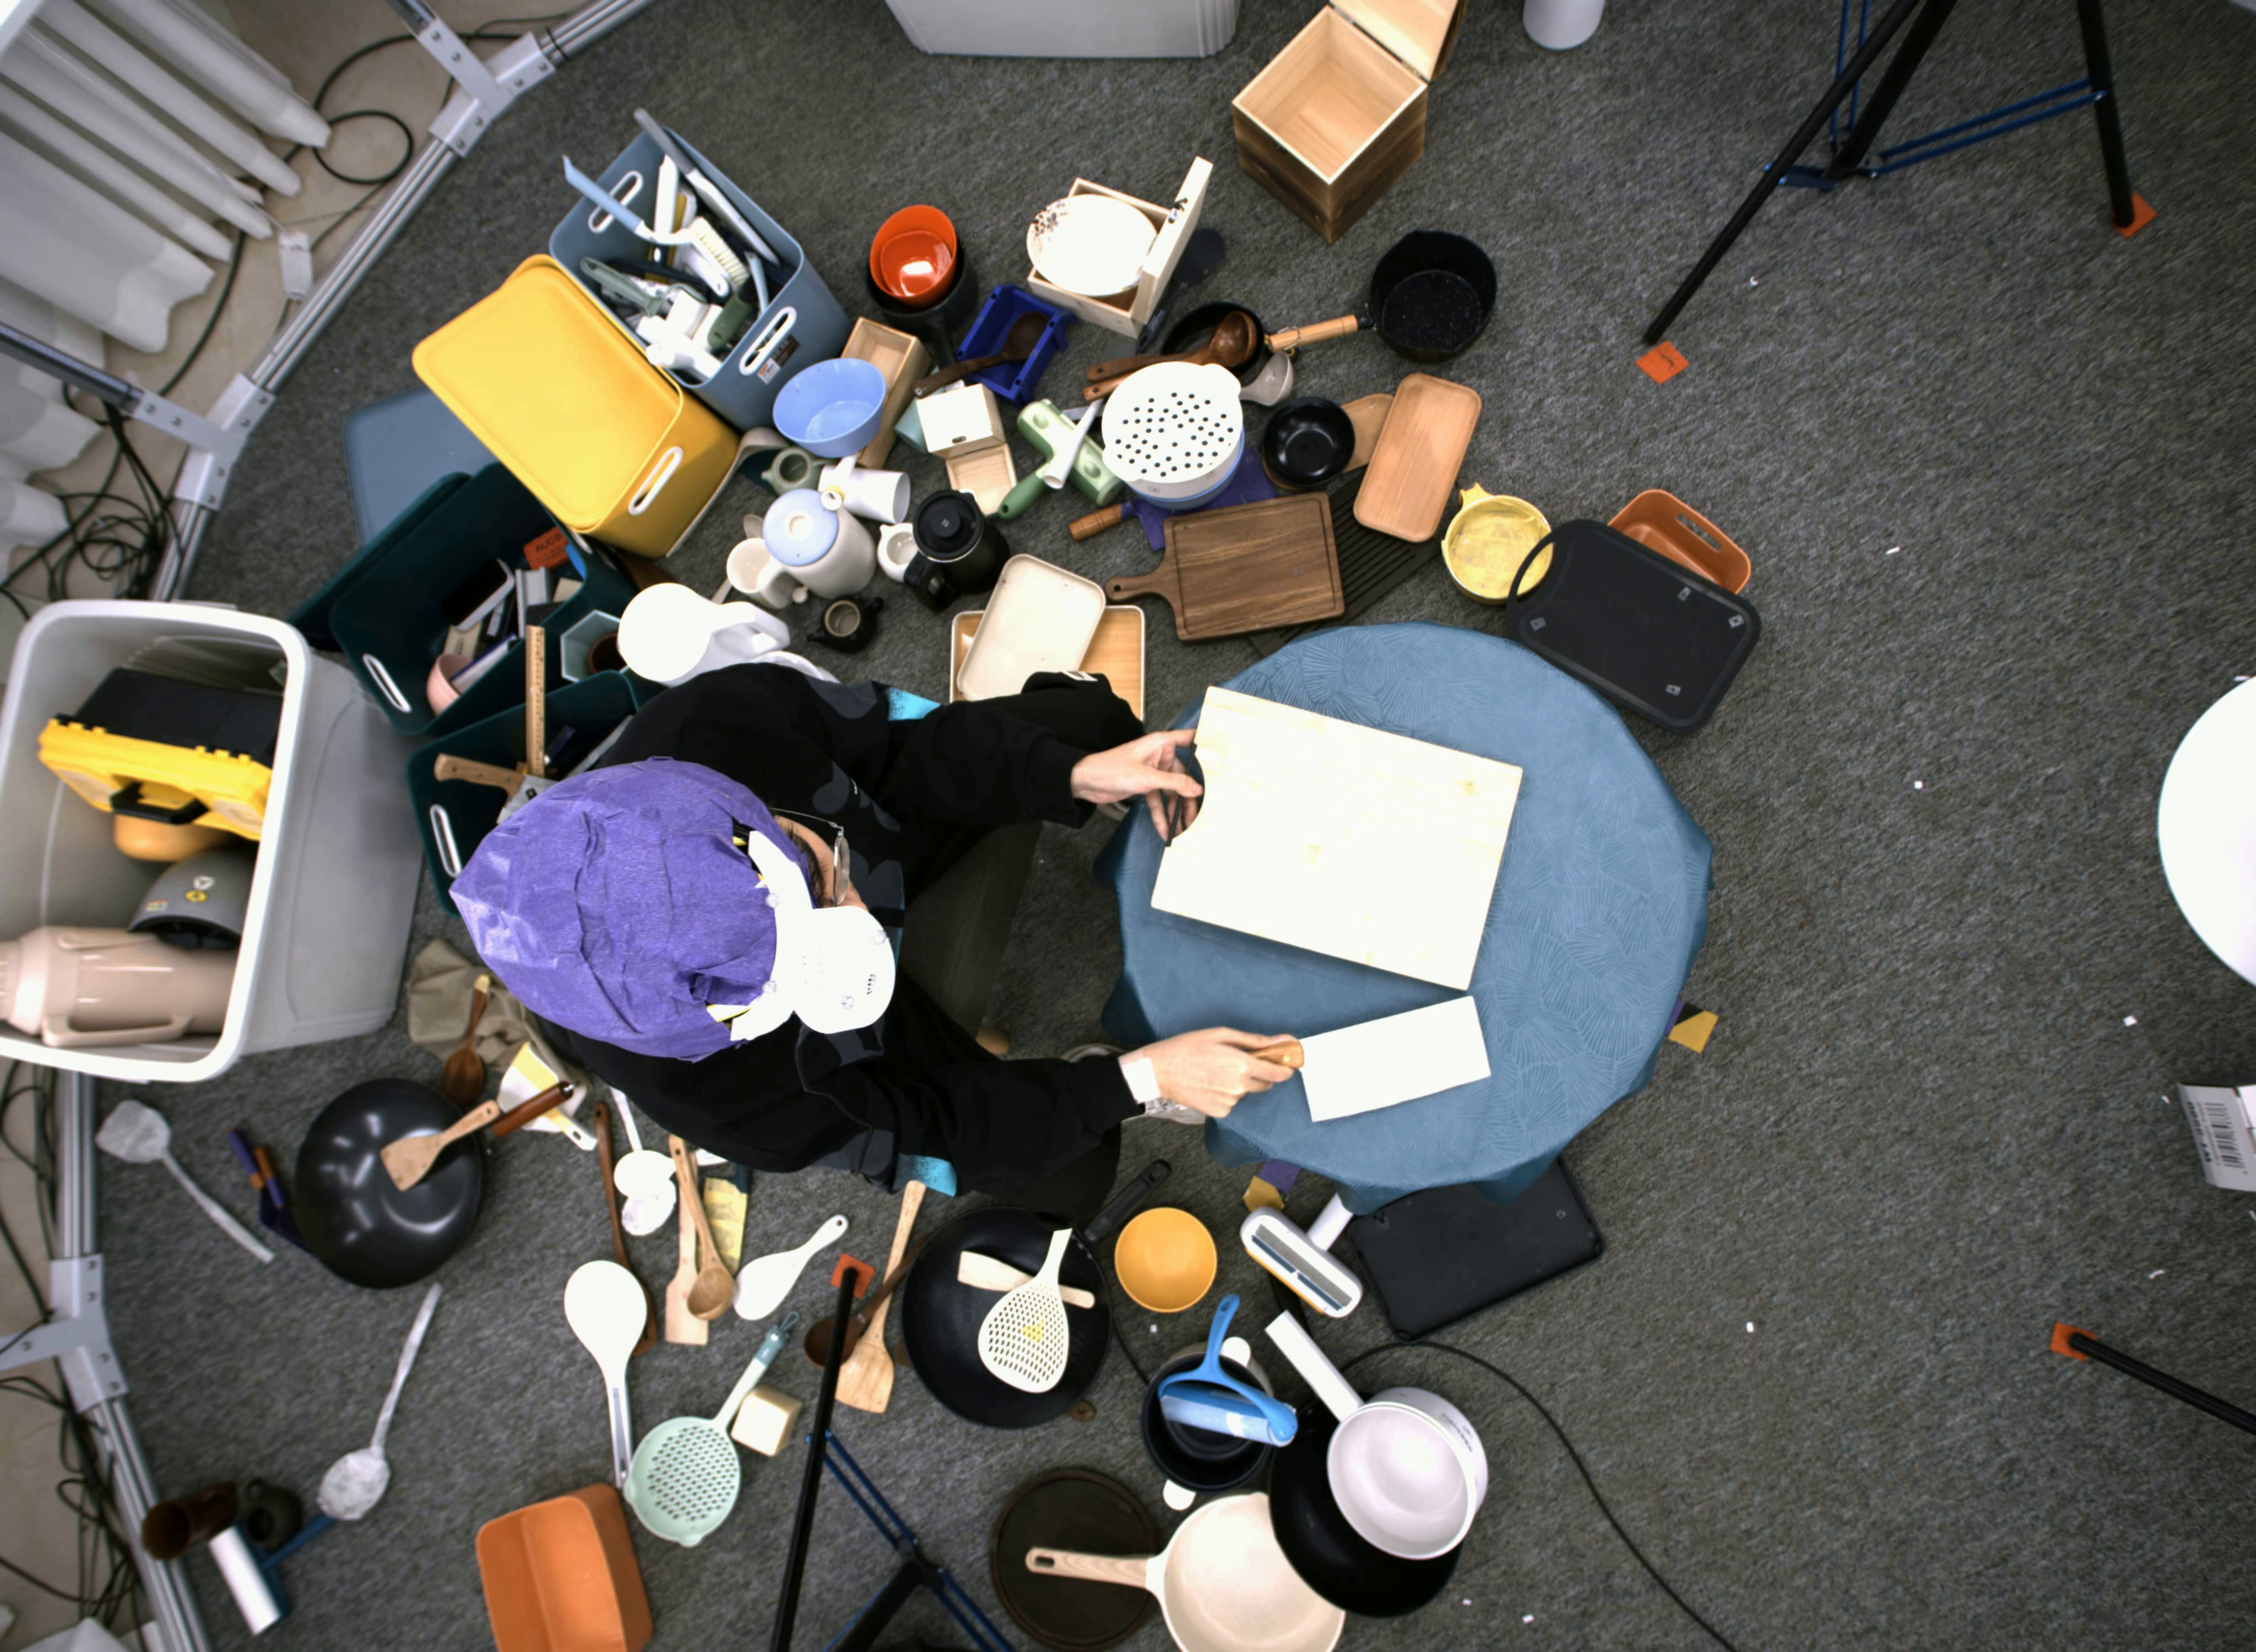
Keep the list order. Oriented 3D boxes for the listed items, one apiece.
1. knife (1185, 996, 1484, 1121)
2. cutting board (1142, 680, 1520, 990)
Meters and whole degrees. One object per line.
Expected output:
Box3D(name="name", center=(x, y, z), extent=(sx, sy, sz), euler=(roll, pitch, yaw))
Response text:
Box3D(name="knife", center=(0.215, 0.252, 1.429), extent=(0.306, 0.021, 0.093), euler=(-15, 100, 3))
Box3D(name="cutting board", center=(0.211, 0.008, 1.438), extent=(0.349, 0.023, 0.250), euler=(14, 89, 2))
